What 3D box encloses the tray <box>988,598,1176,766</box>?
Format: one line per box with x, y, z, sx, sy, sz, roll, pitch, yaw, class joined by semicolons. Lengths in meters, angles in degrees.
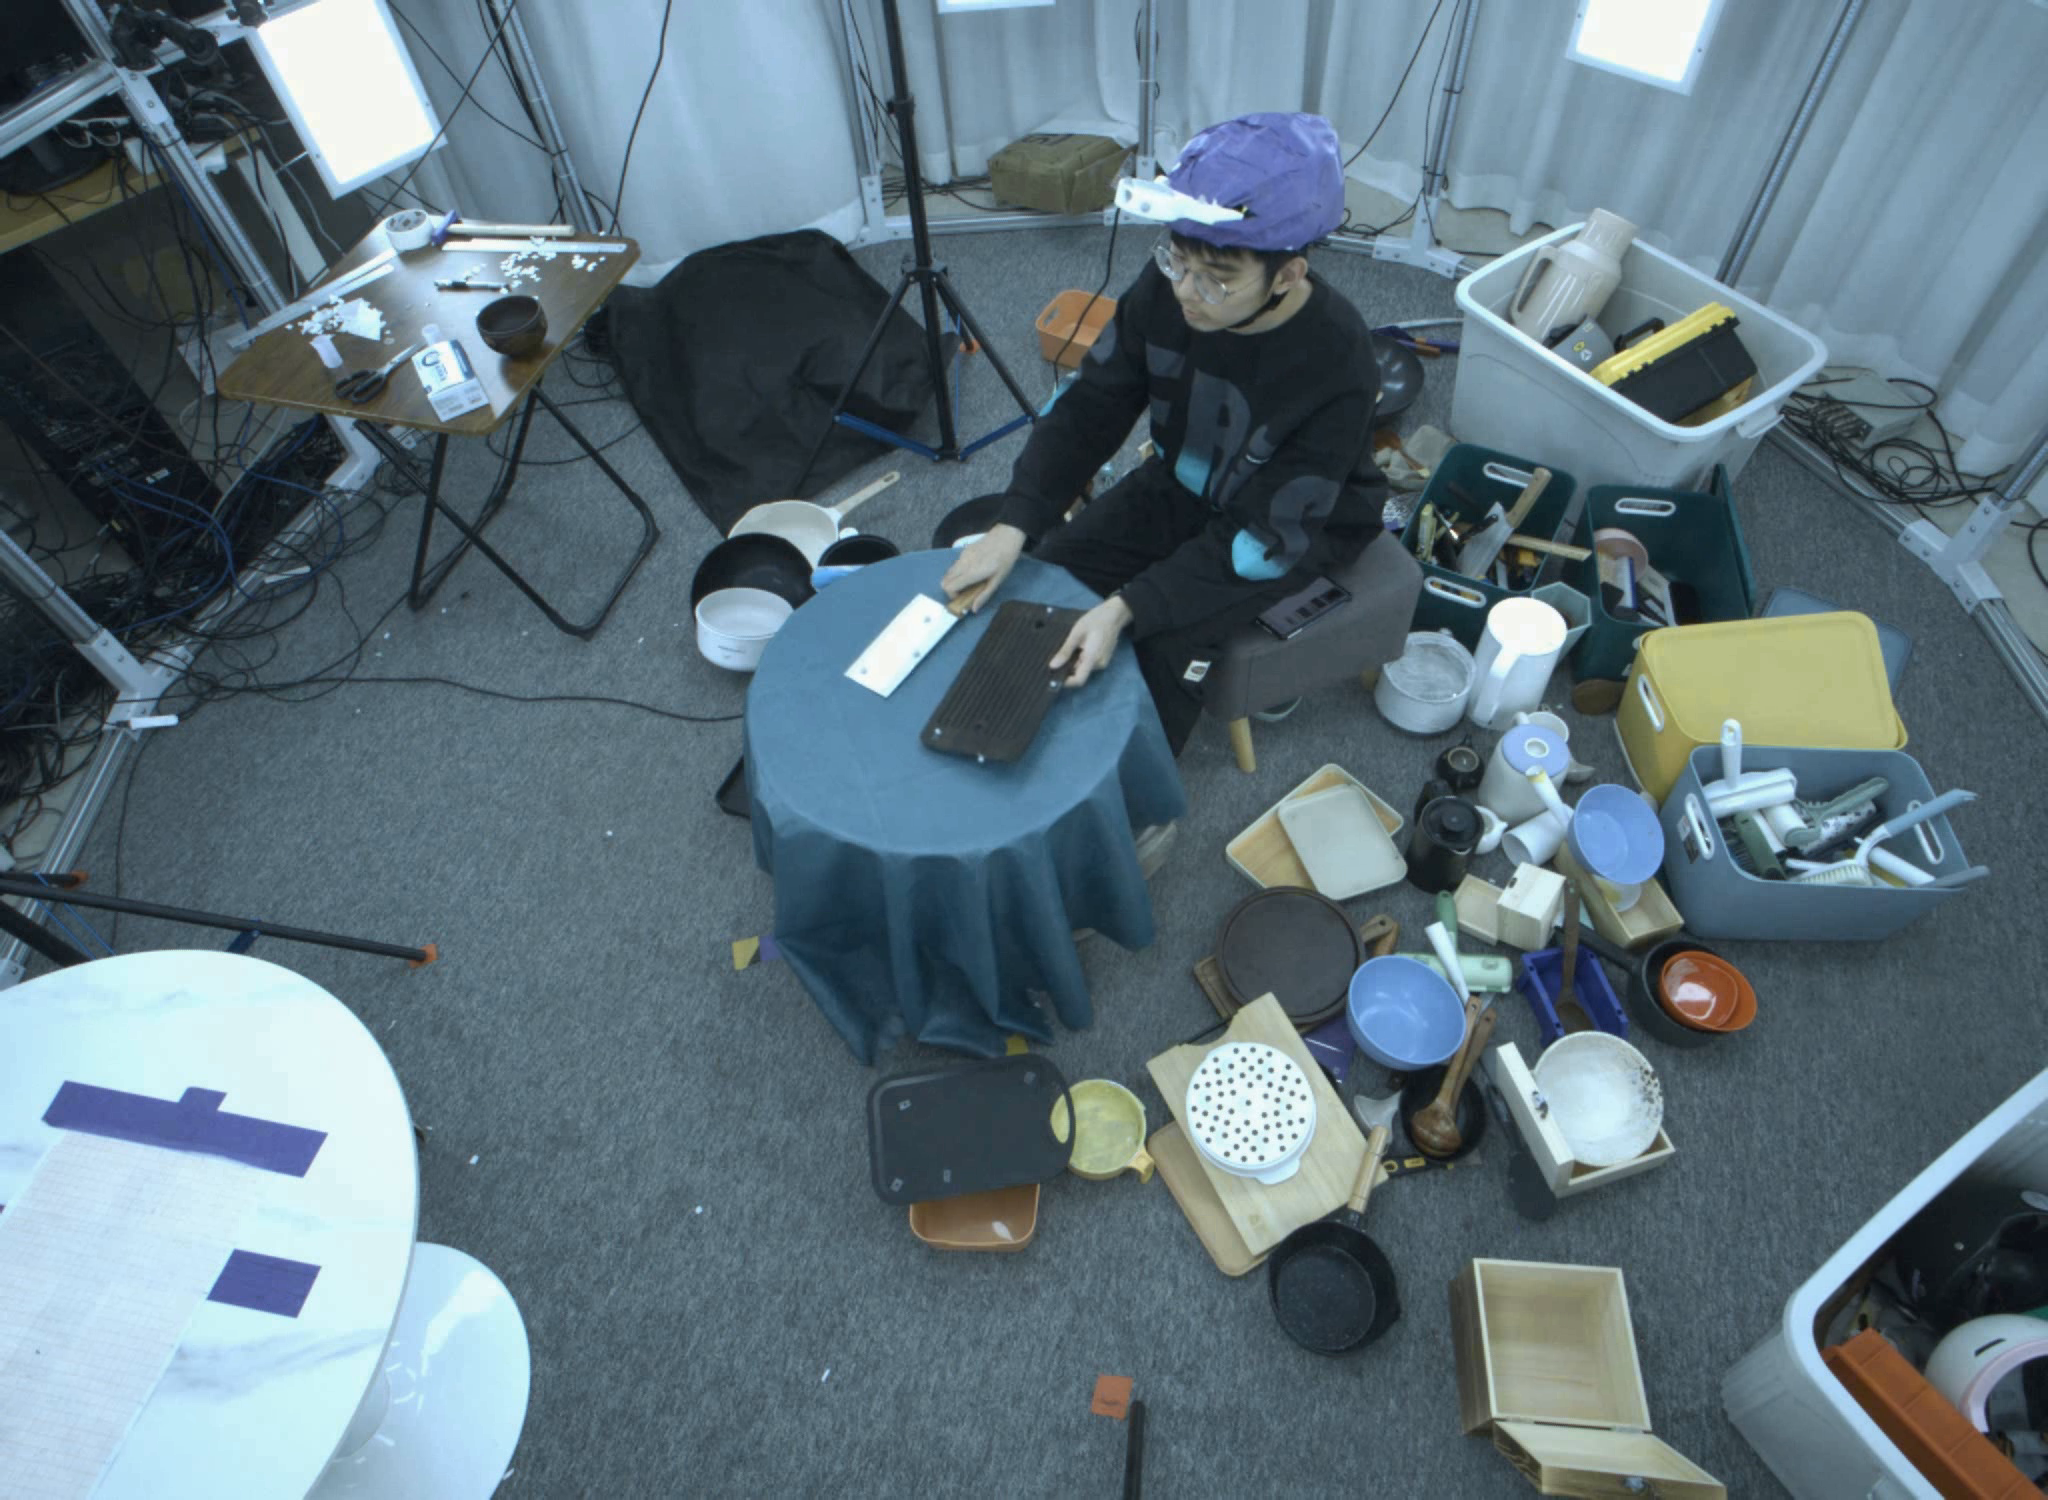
0.090;-0.105;1.828;0.167;0.019;0.307;17;57;28;tray

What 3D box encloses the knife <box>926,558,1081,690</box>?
-0.036;-0.210;1.923;0.091;0.021;0.307;33;65;26;knife
